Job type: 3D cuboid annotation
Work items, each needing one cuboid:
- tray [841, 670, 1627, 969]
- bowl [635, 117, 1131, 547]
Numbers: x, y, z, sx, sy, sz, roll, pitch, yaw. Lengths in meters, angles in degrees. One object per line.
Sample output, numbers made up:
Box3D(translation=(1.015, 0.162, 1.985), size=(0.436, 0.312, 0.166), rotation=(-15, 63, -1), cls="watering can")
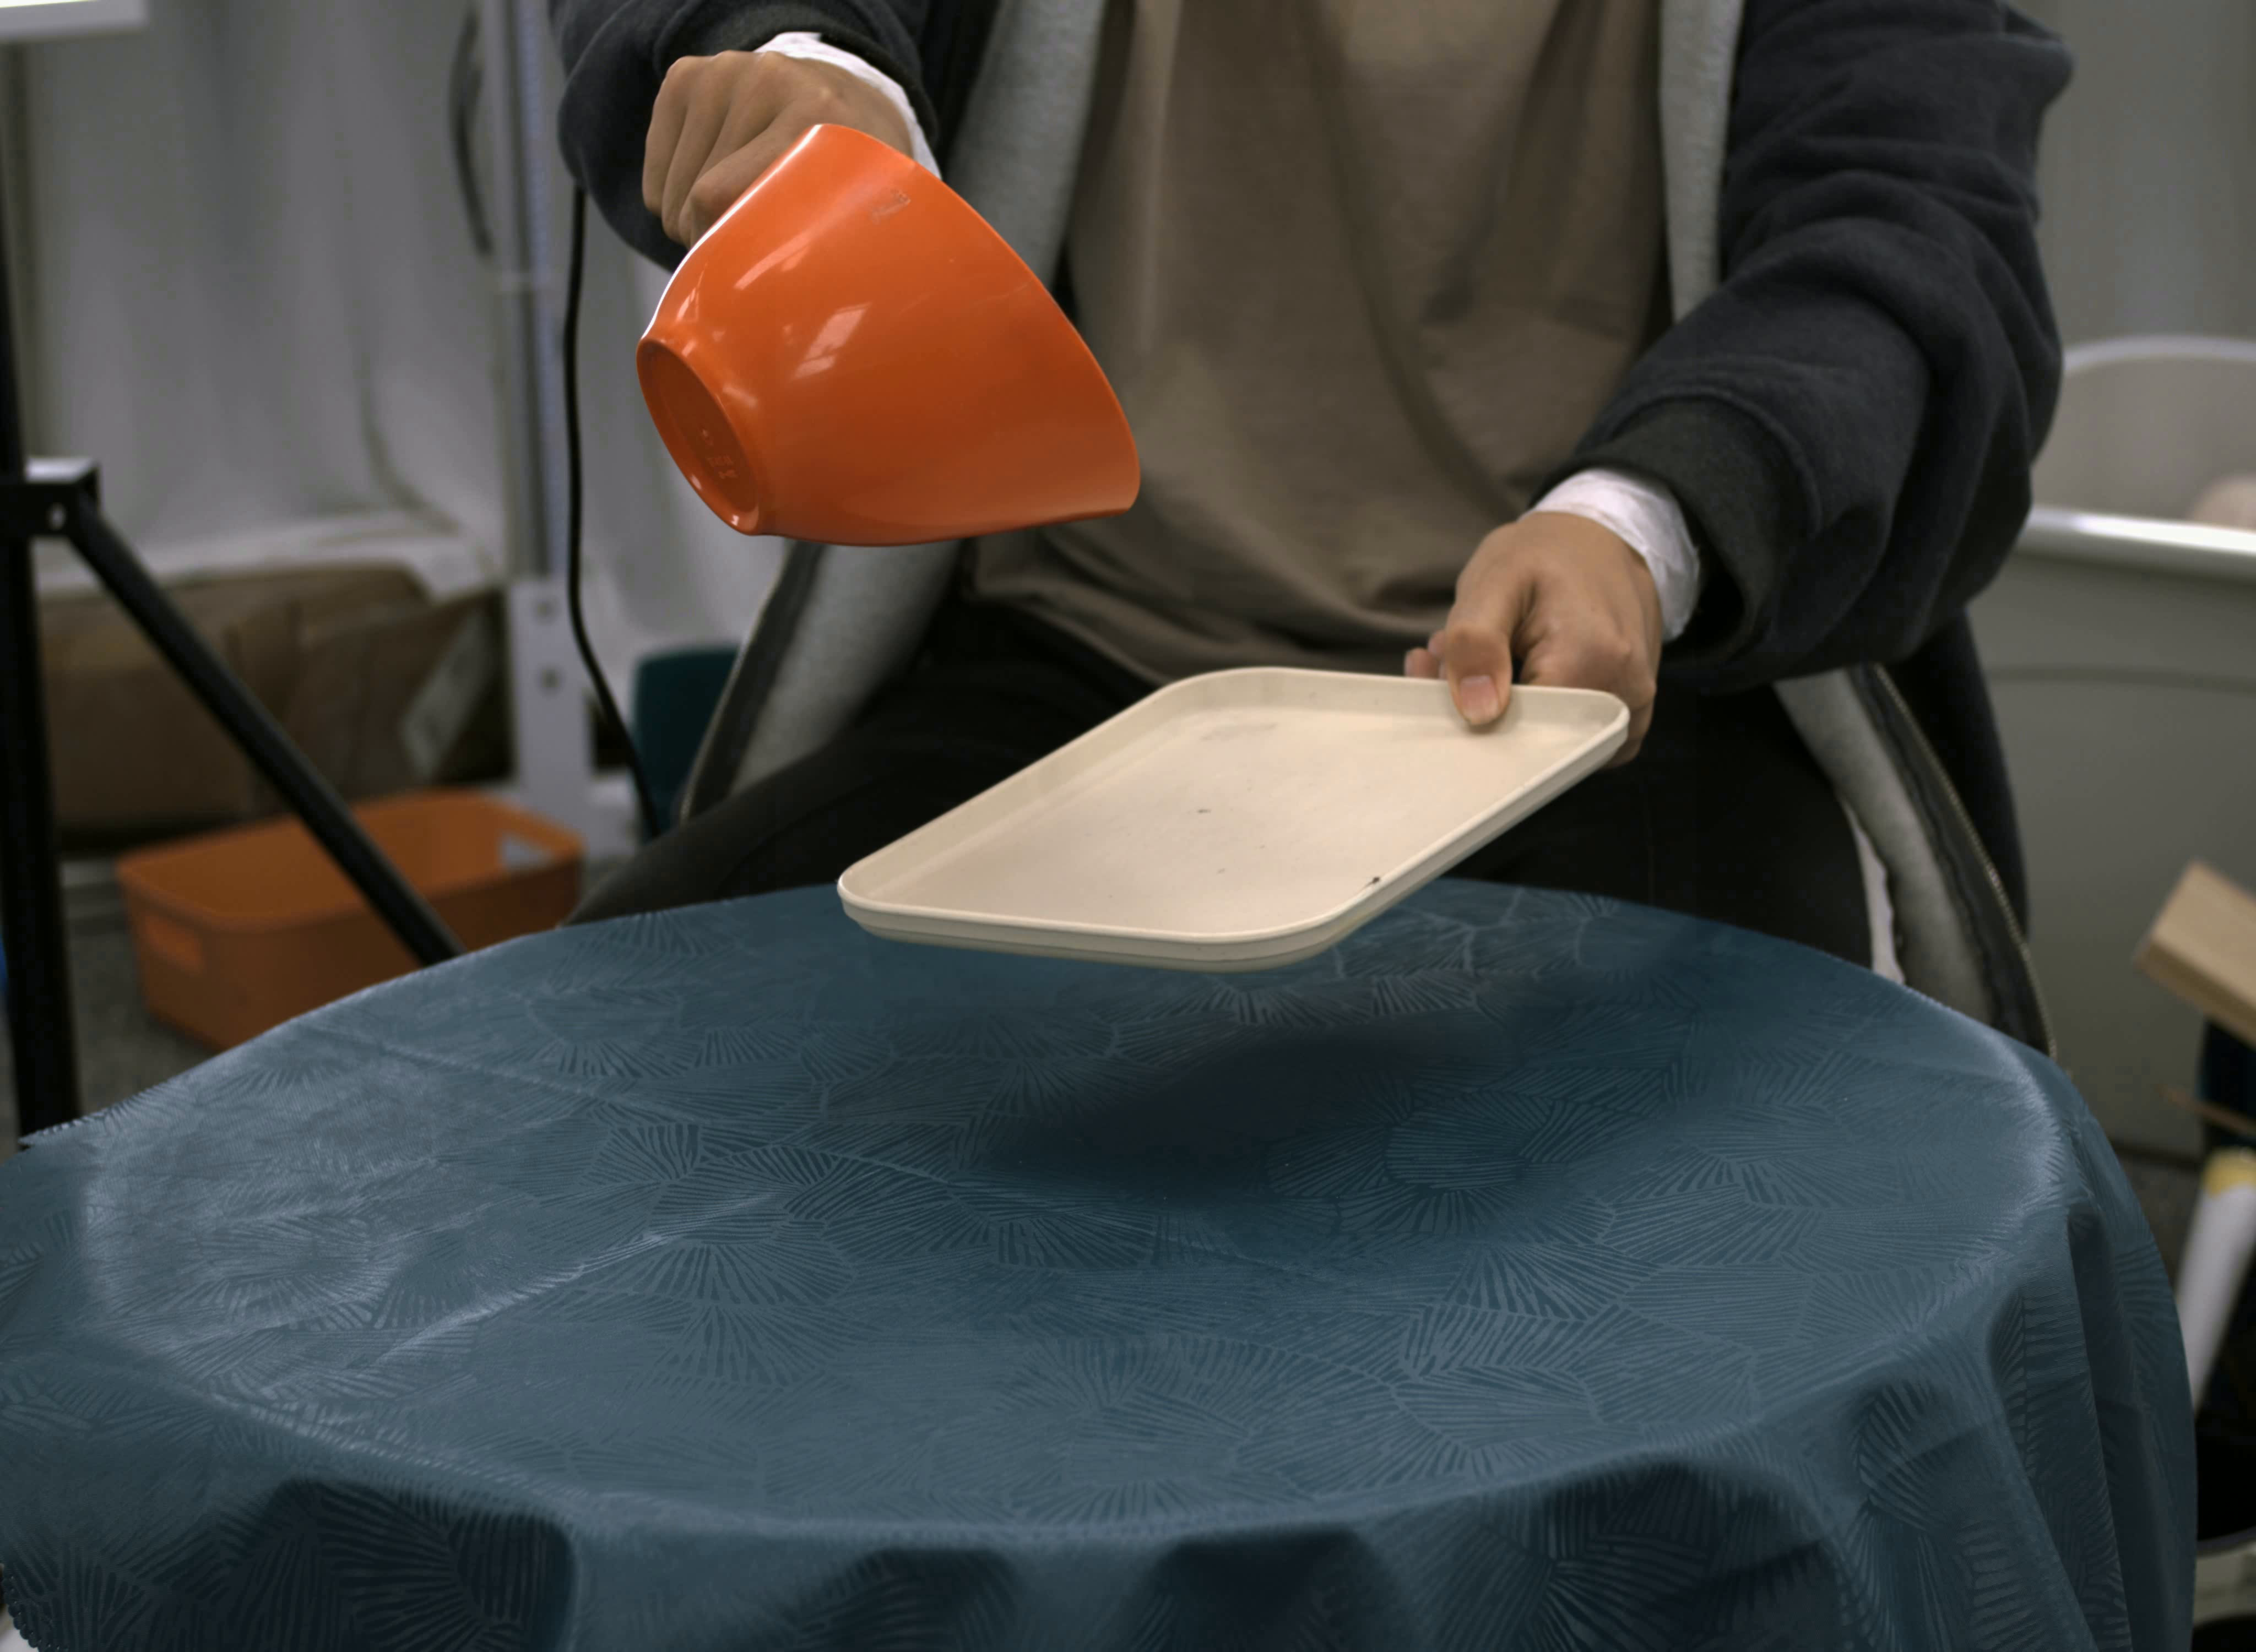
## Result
Box3D(translation=(0.036, -0.003, 1.627), size=(0.174, 0.017, 0.235), rotation=(4, 21, 33), cls="tray")
Box3D(translation=(-0.081, -0.131, 1.592), size=(0.103, 0.147, 0.151), rotation=(-29, 25, -18), cls="bowl")
